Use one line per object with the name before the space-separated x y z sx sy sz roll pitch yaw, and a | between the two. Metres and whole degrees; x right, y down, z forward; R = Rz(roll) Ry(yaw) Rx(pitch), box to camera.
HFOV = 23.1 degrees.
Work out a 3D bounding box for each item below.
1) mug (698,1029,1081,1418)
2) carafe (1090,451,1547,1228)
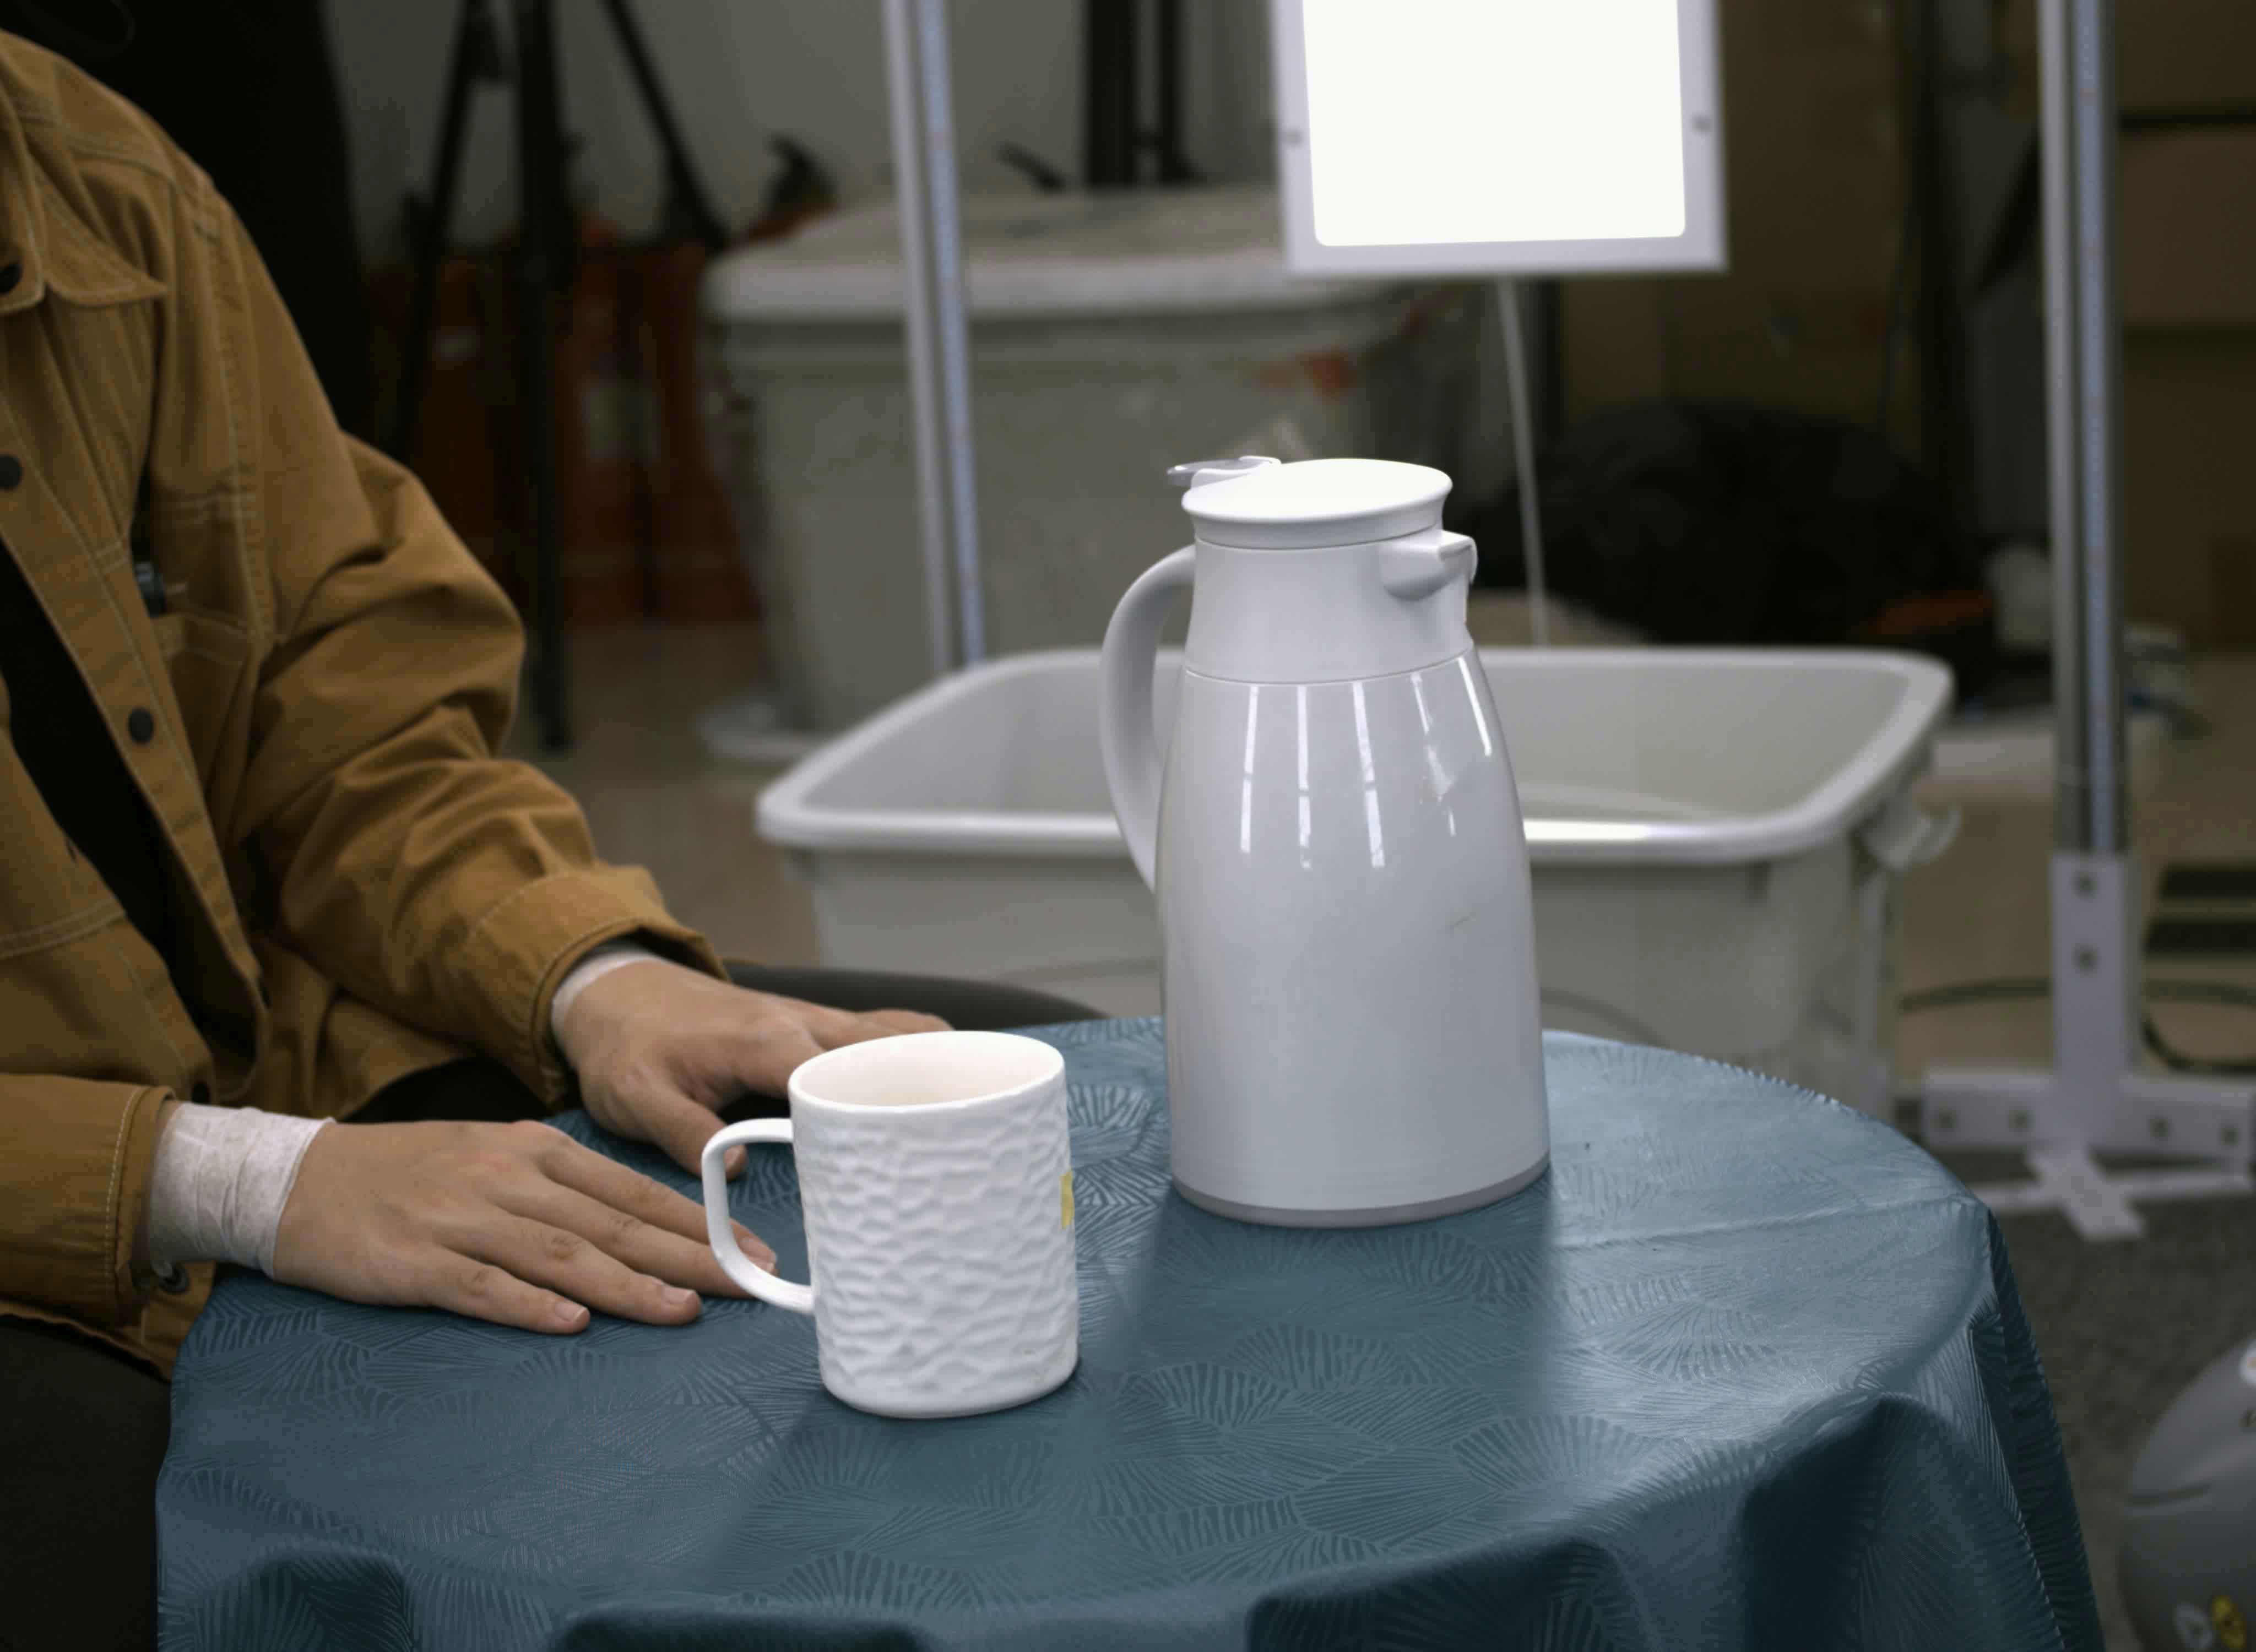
mug | -0.075 0.124 1.721 0.119 0.102 0.084 -2 14 13
carafe | 0.056 -0.003 1.883 0.171 0.249 0.129 8 19 43
